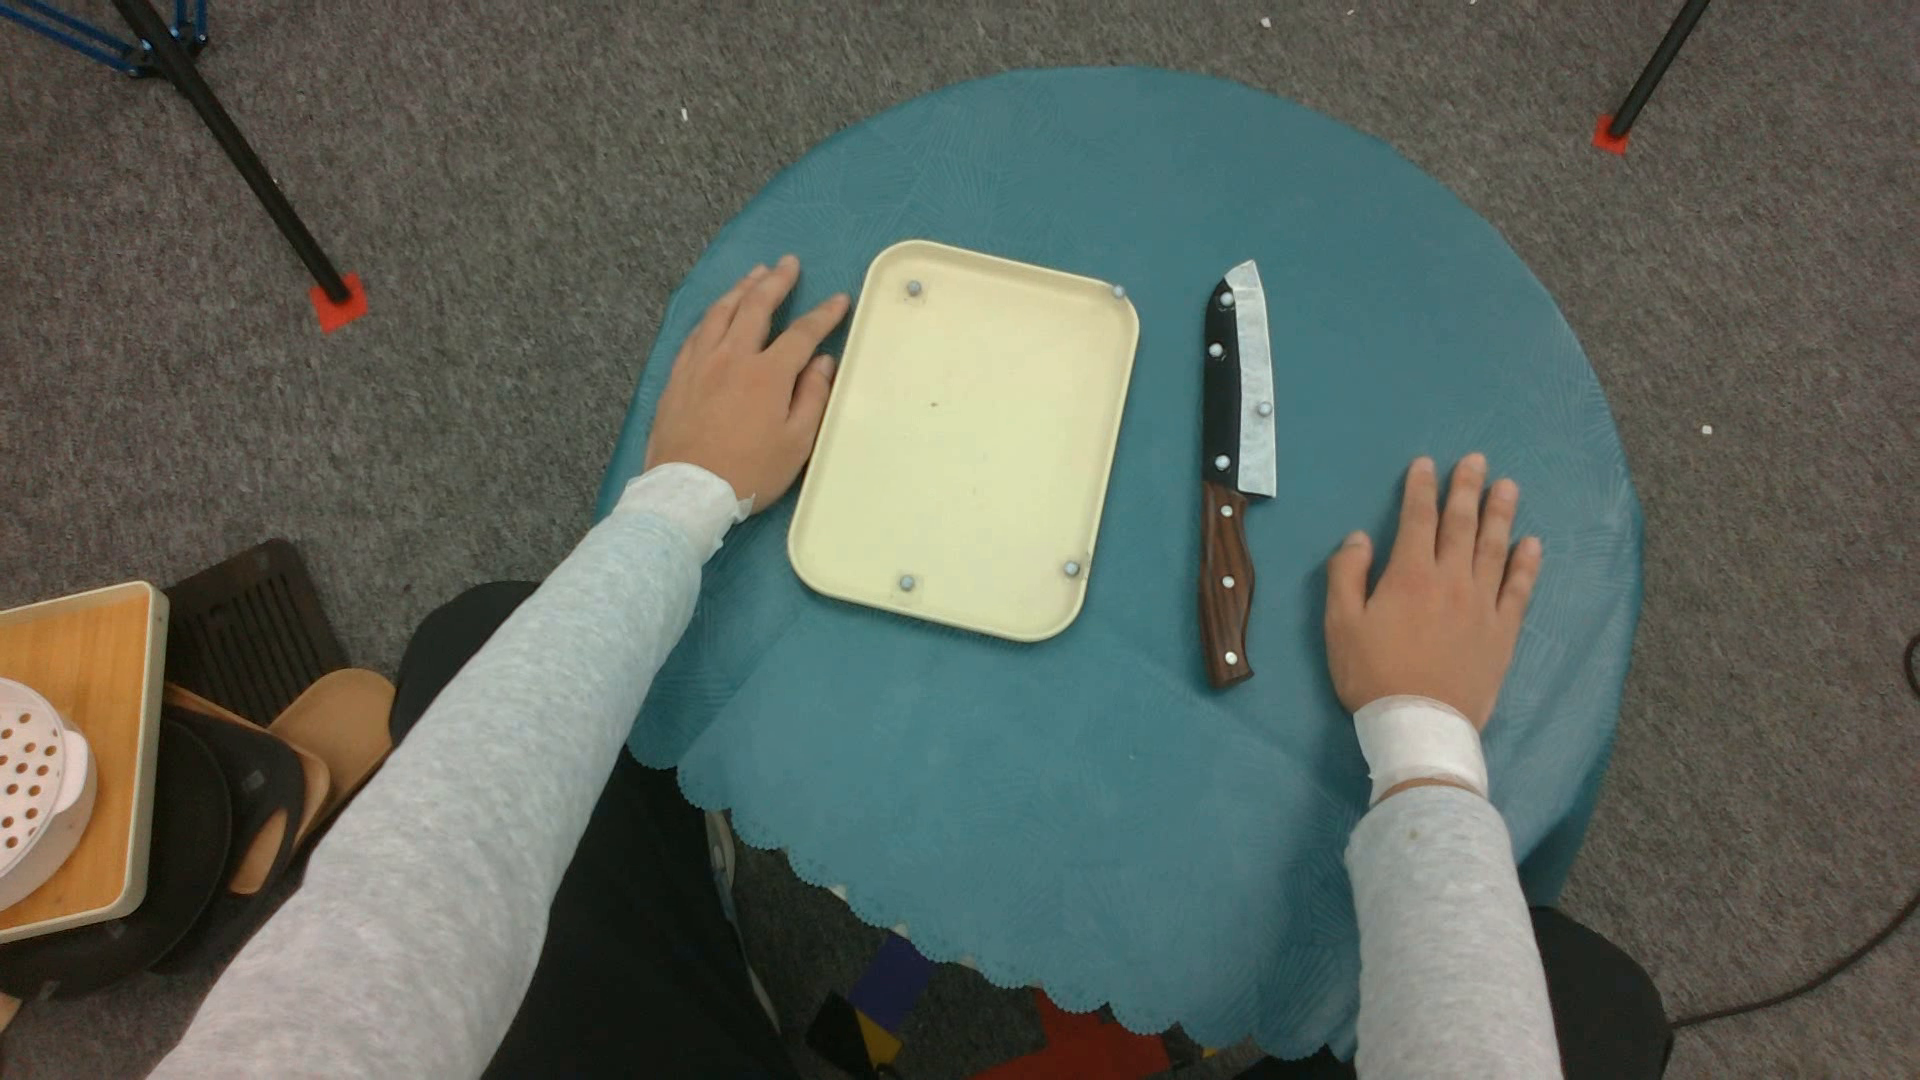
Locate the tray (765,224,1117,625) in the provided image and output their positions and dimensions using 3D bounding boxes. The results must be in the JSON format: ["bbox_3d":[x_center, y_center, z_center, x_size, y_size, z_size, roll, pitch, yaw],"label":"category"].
[{"bbox_3d":[-0.007,-0.072,0.805,0.171,0.017,0.240,13,68,1],"label":"tray"}]

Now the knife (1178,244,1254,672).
[{"bbox_3d":[0.150,-0.058,0.814,0.050,0.020,0.290,10,65,-6],"label":"knife"}]
